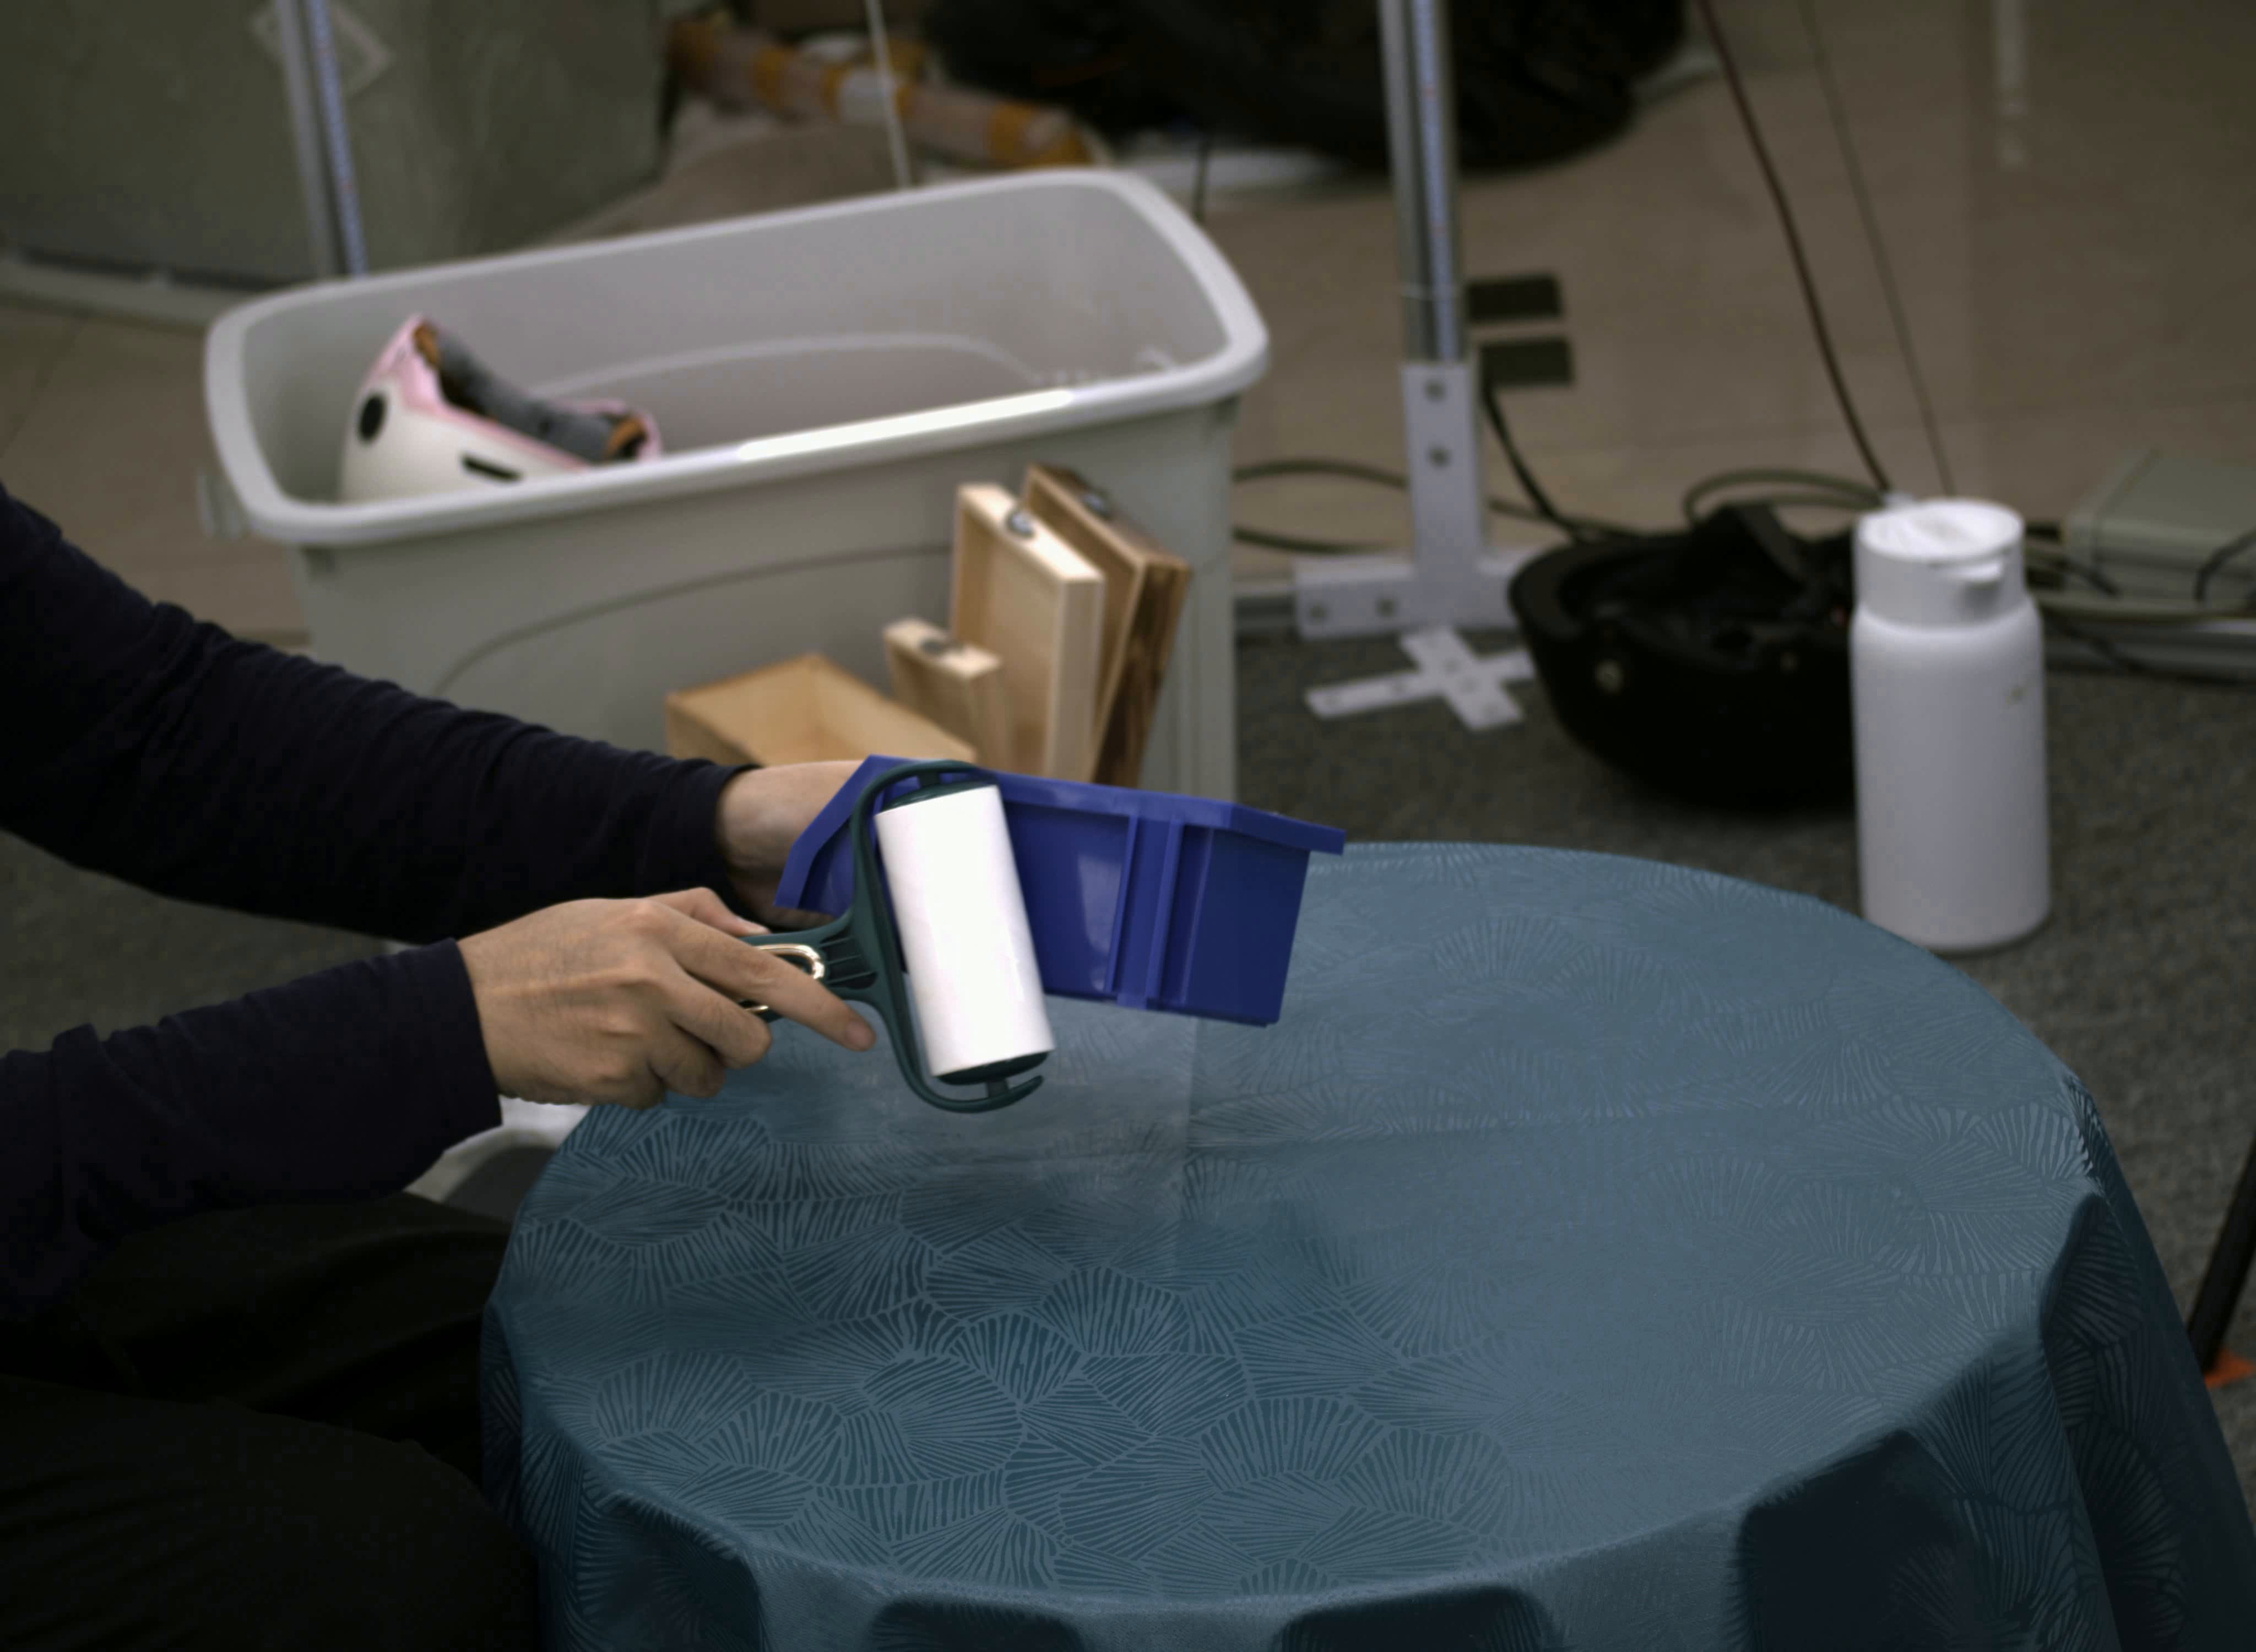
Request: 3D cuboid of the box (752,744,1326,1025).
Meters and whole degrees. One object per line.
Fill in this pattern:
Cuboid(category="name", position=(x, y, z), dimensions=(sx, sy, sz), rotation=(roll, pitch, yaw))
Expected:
Cuboid(category="box", position=(-0.036, 0.021, 2.155), dimensions=(0.178, 0.082, 0.125), rotation=(11, 1, 25))

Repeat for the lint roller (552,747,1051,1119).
Cuboid(category="lint roller", position=(-0.127, 0.055, 2.087), dimensions=(0.180, 0.134, 0.048), rotation=(-13, -1, 0))
